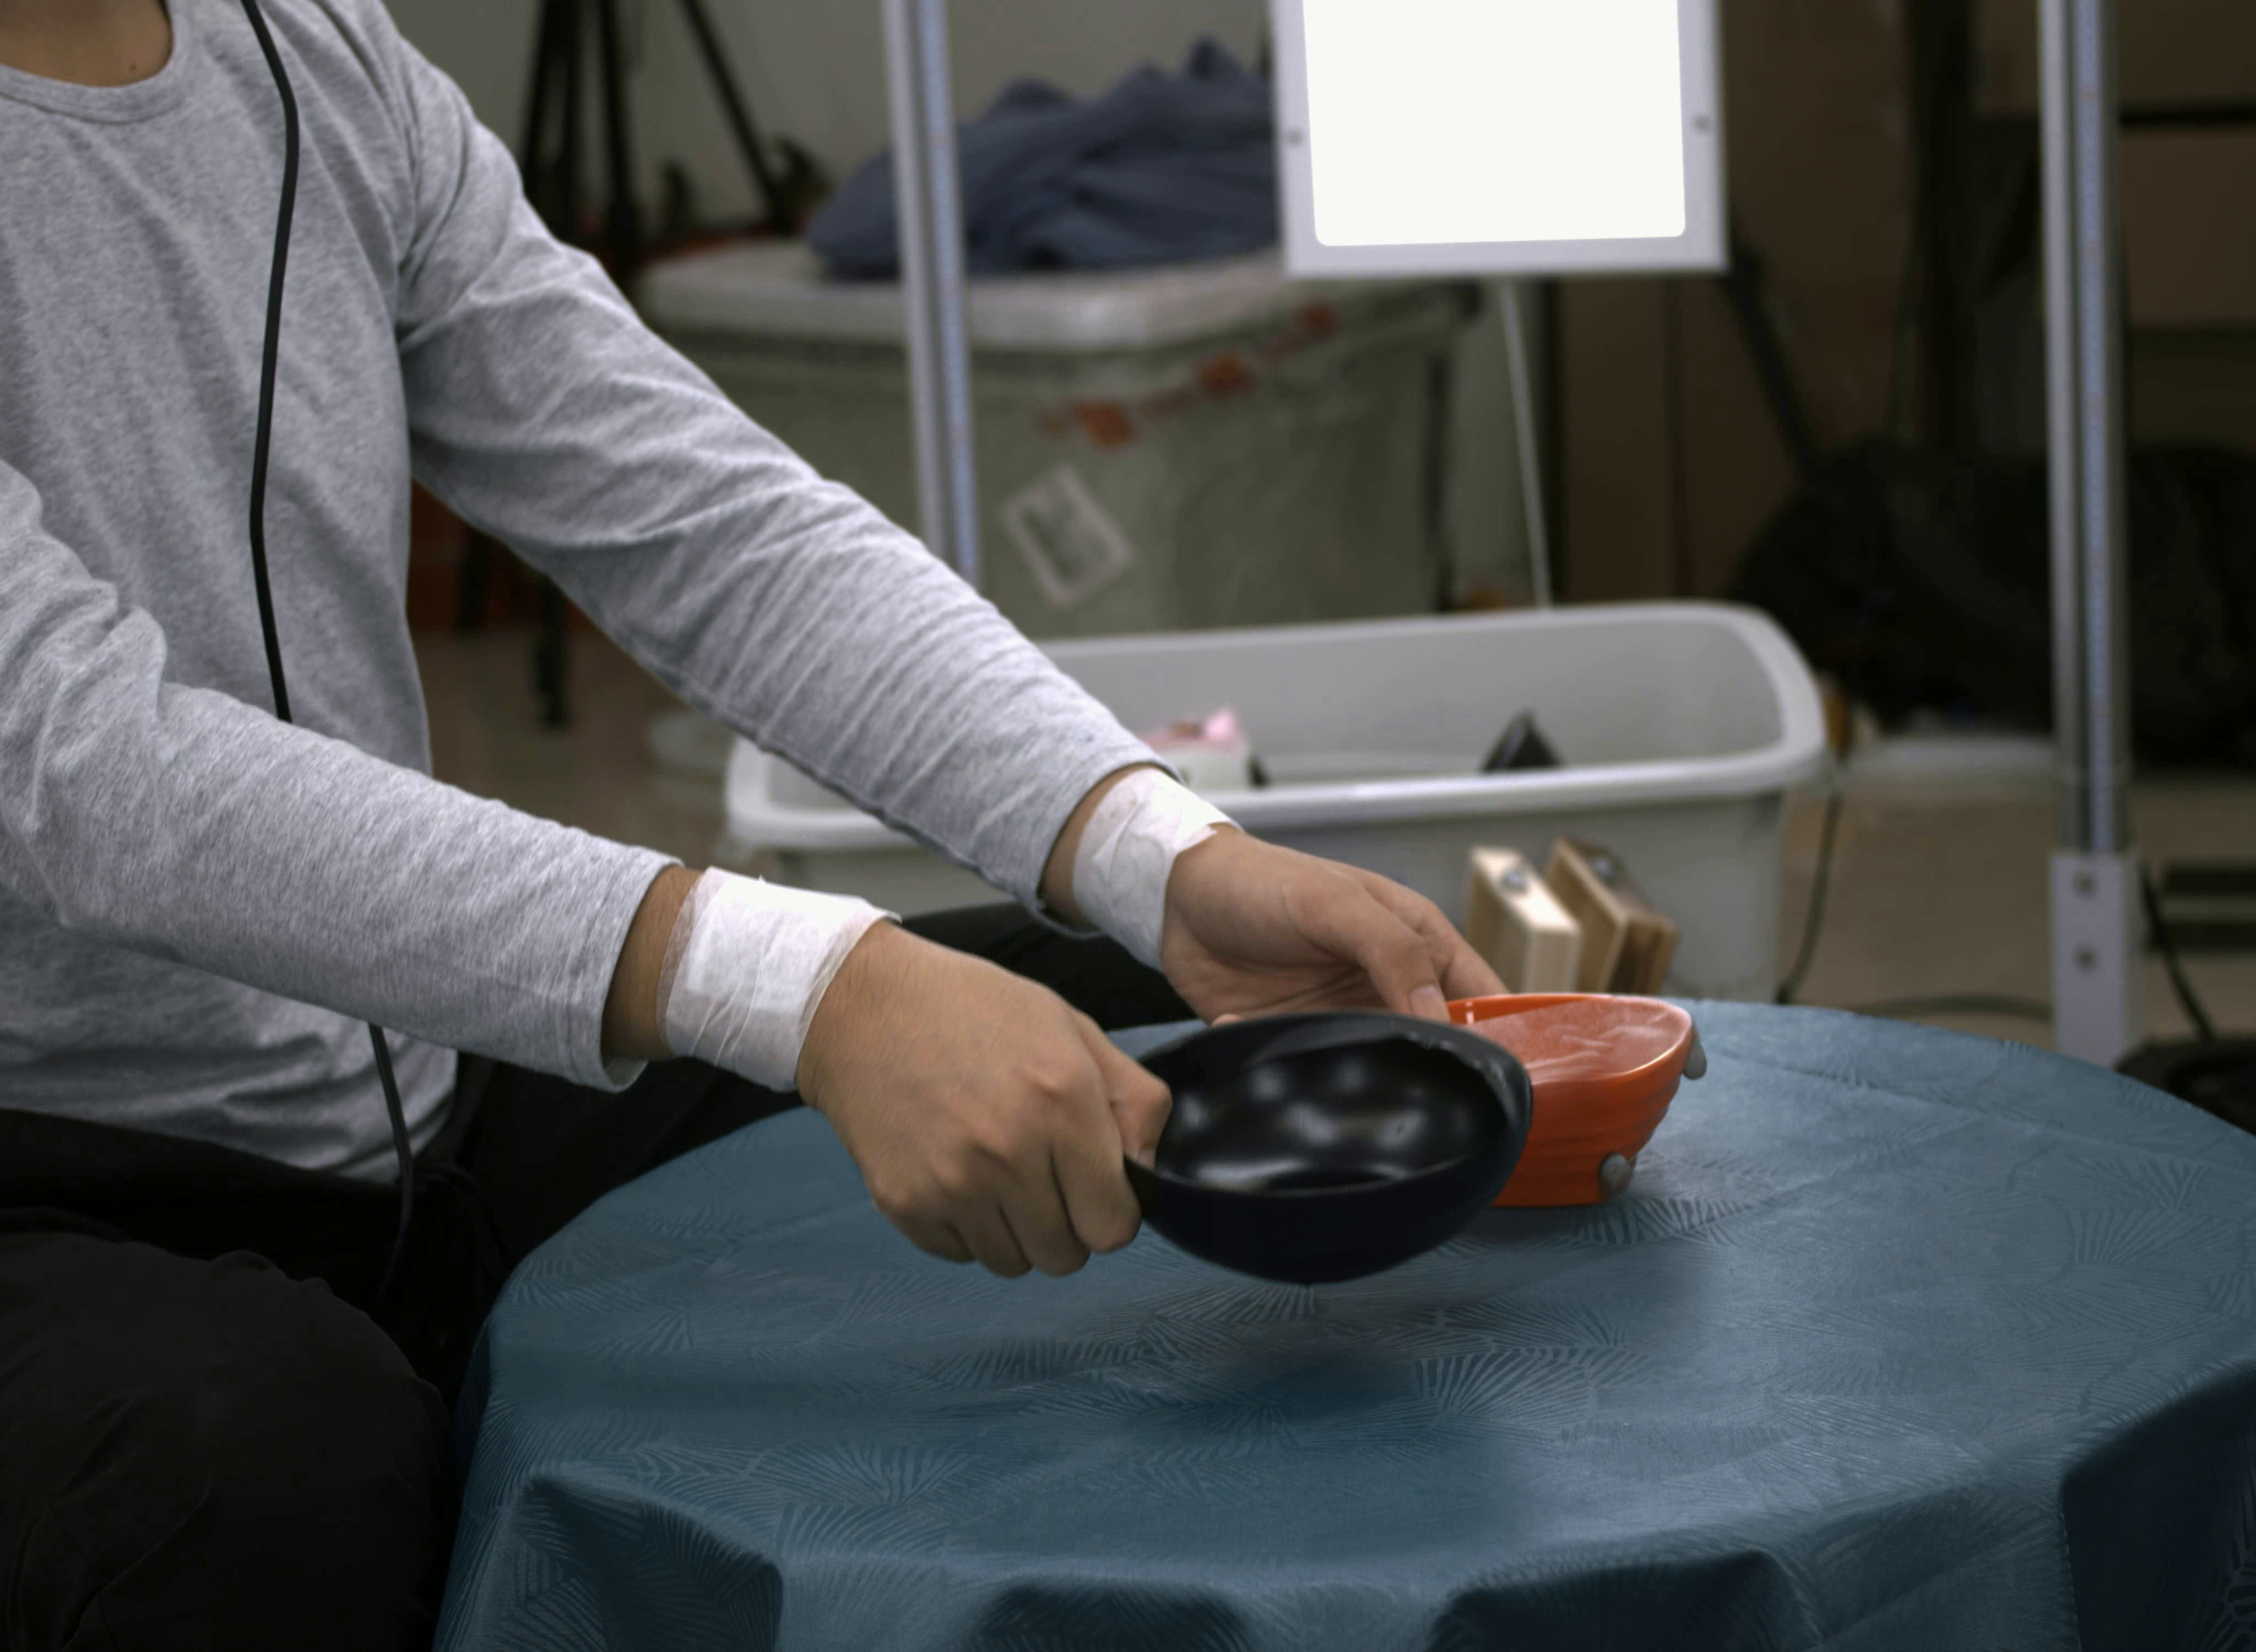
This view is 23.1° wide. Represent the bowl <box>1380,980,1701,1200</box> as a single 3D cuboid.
[{"bbox_3d":[0.139,0.092,1.874,0.118,0.051,0.119,-2,16,-1],"label":"bowl"}]

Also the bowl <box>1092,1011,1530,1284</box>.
[{"bbox_3d":[0.060,0.107,1.735,0.140,0.050,0.140,-8,20,1],"label":"bowl"}]
